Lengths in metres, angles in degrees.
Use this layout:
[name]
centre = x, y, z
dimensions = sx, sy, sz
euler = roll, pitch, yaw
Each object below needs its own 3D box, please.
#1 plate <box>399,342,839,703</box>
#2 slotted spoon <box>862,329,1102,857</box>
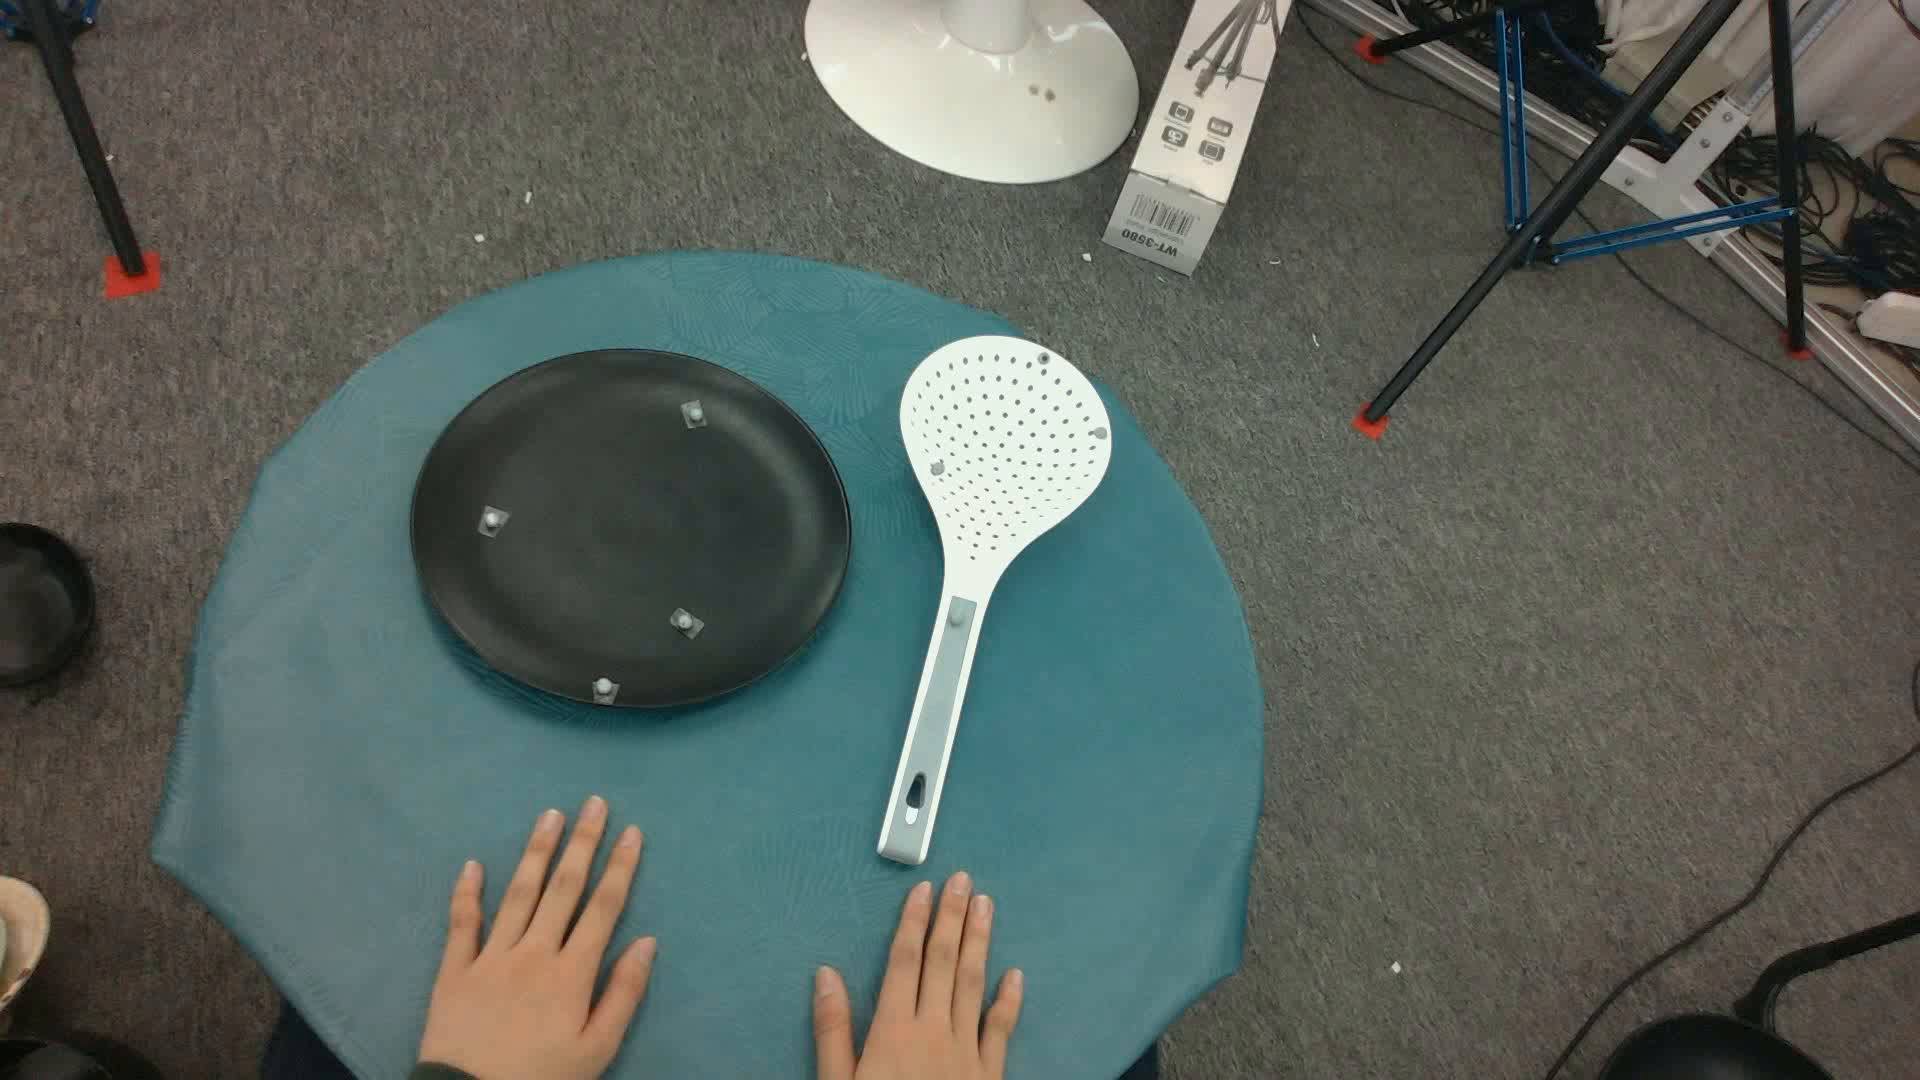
[plate]
centre = -0.192, -0.014, 0.794
dimensions = 0.244, 0.023, 0.245
euler = 8, 56, -12
[slotted spoon]
centre = -0.001, 0.018, 0.817
dimensions = 0.136, 0.045, 0.351
euler = 16, 56, -4
